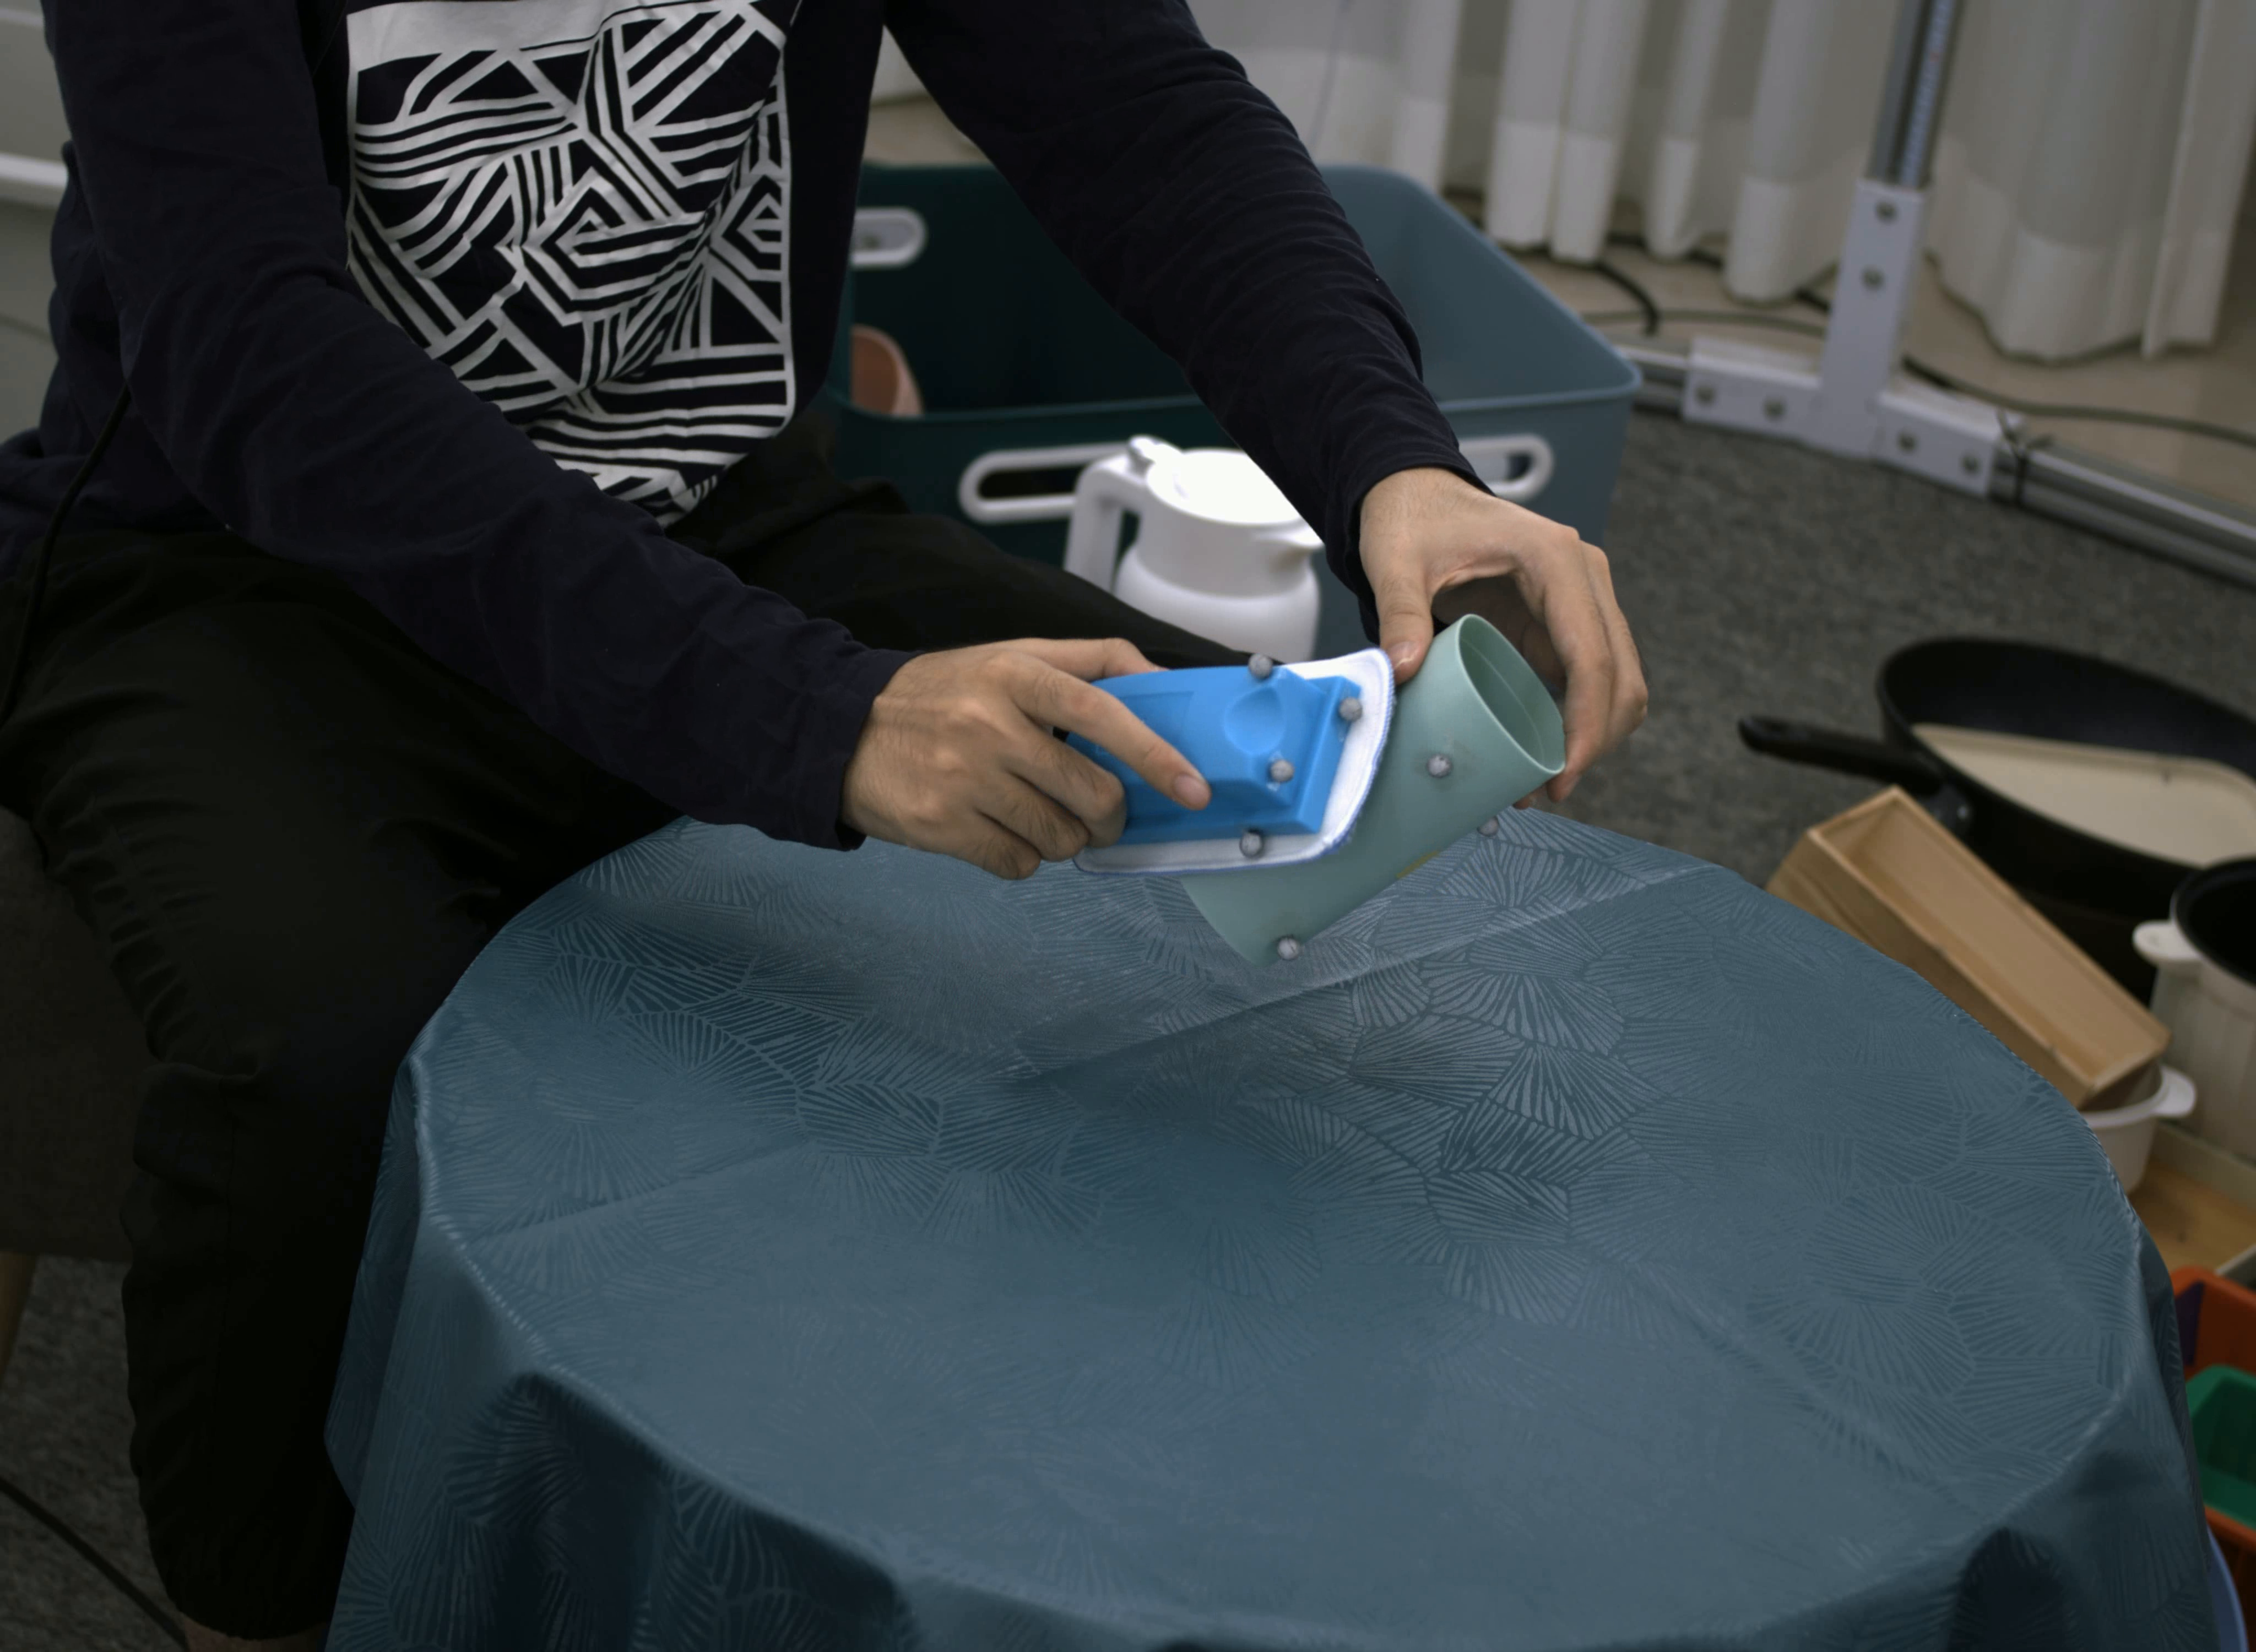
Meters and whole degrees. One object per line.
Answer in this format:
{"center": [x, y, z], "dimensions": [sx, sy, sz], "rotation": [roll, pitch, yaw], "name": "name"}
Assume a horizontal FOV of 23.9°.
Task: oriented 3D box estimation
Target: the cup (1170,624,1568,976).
{"center": [0.083, -0.010, 1.857], "dimensions": [0.066, 0.132, 0.067], "rotation": [39, 29, -27], "name": "cup"}

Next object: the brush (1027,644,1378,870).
{"center": [0.017, -0.029, 1.840], "dimensions": [0.144, 0.084, 0.055], "rotation": [-1, -31, 47], "name": "brush"}
